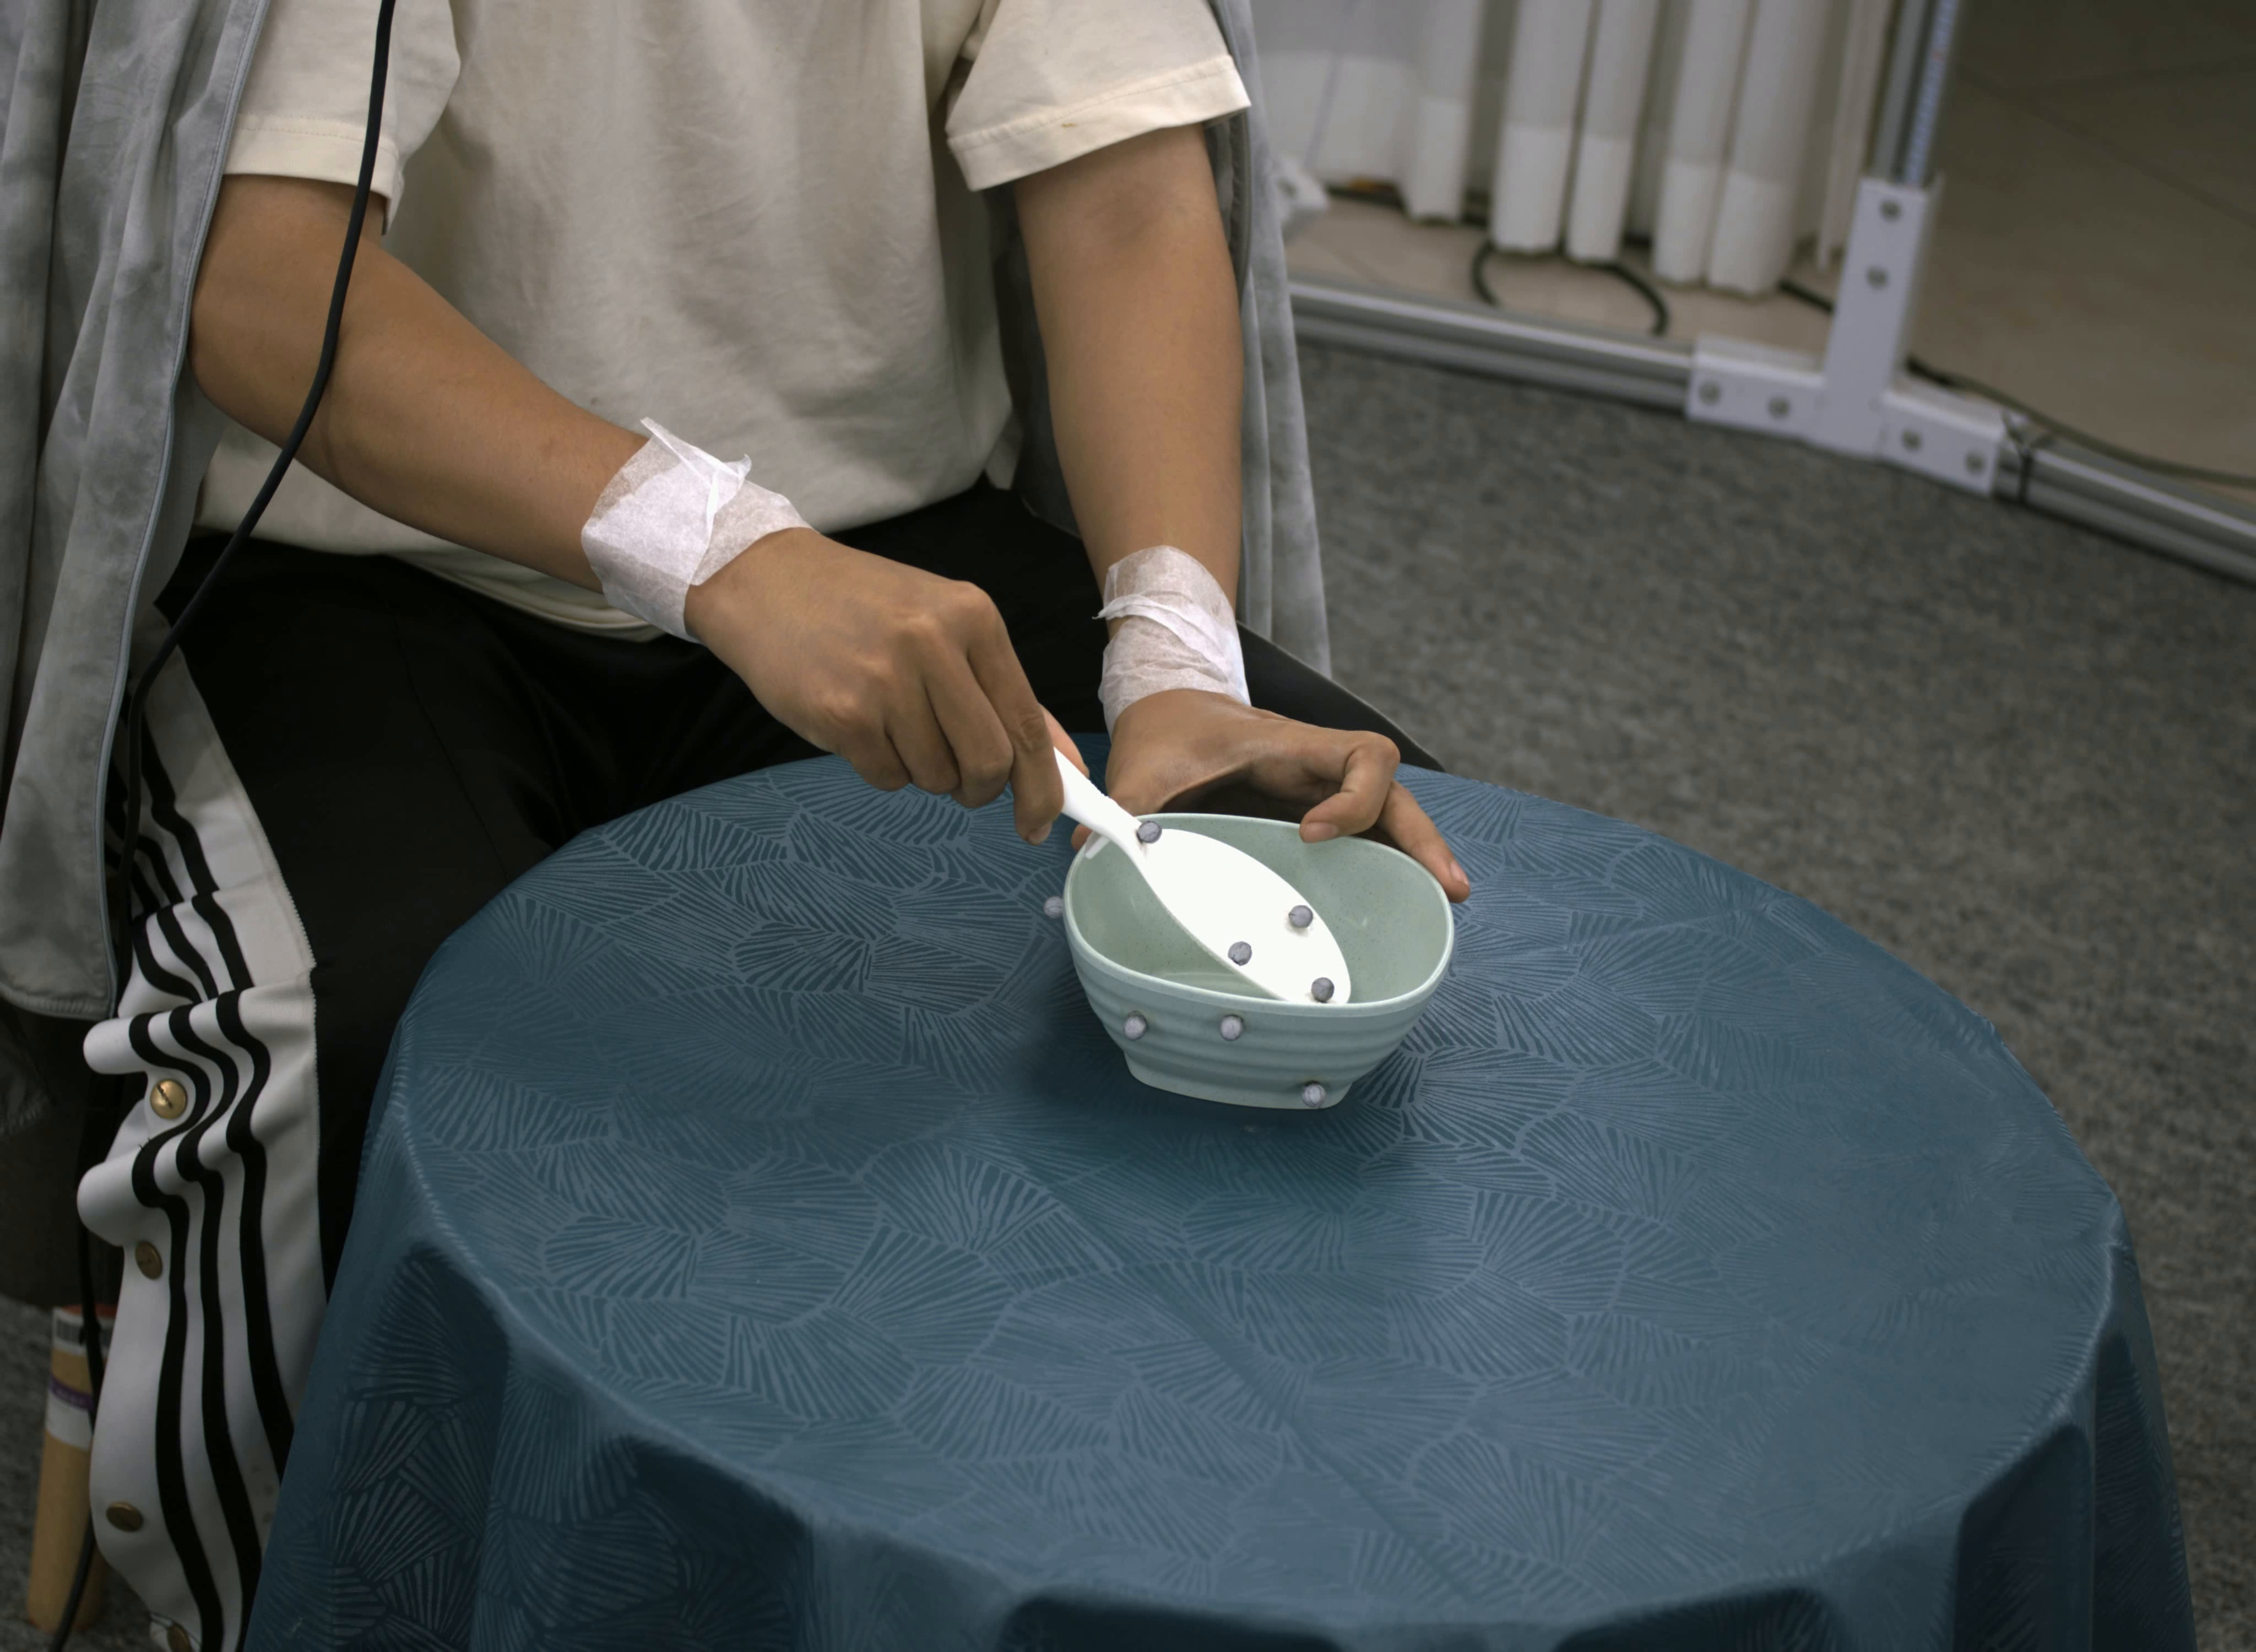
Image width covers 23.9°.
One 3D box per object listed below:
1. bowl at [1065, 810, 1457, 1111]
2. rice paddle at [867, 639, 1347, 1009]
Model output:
[{"bbox_3d":[0.045,0.054,1.890,0.151,0.058,0.152,4,29,-3],"label":"bowl"},{"bbox_3d":[-0.001,0.001,1.873,0.204,0.029,0.069,34,33,-16],"label":"rice paddle"}]
